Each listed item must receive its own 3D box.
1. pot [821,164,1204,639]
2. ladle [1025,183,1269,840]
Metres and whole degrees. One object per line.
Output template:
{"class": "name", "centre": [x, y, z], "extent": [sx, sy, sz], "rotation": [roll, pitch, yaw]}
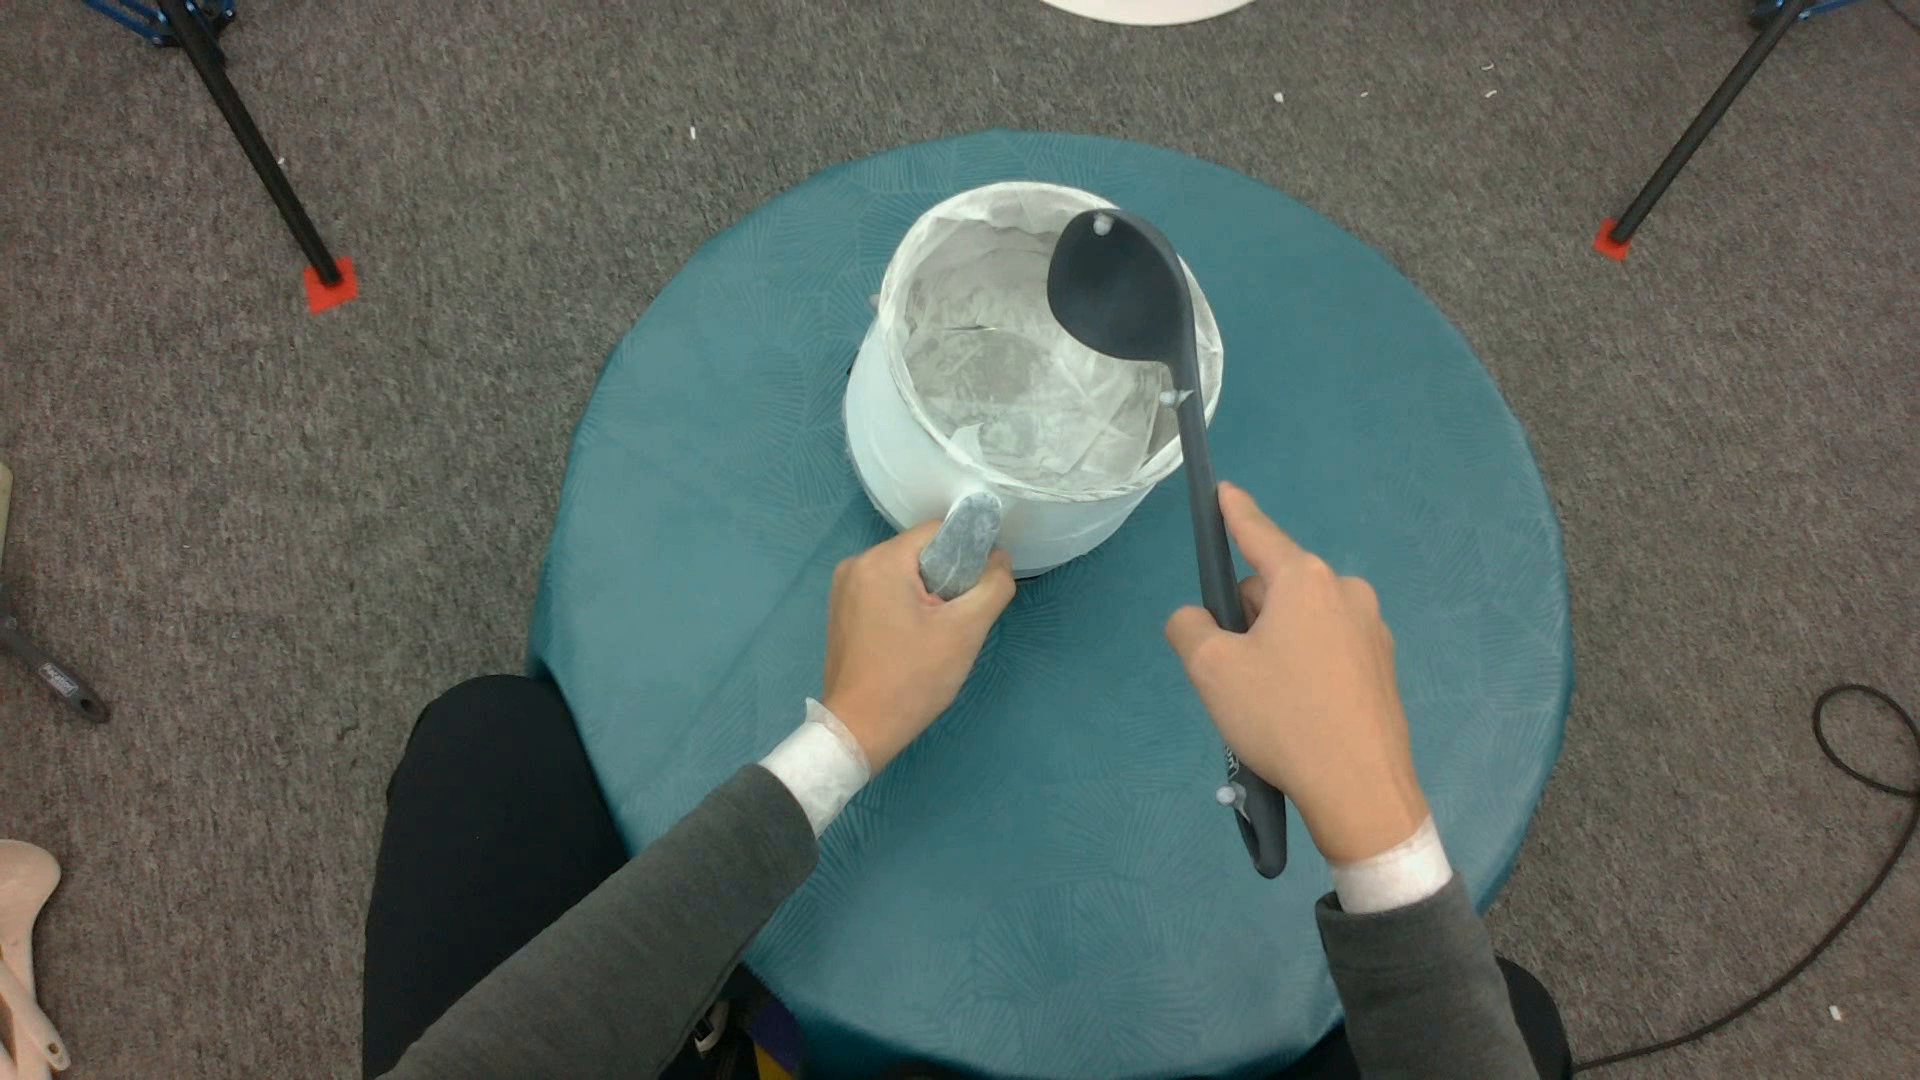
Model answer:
{"class": "pot", "centre": [0.013, -0.063, 0.720], "extent": [0.179, 0.136, 0.234], "rotation": [24, 64, -6]}
{"class": "ladle", "centre": [0.077, -0.022, 0.599], "extent": [0.064, 0.086, 0.315], "rotation": [-1, 61, -8]}
